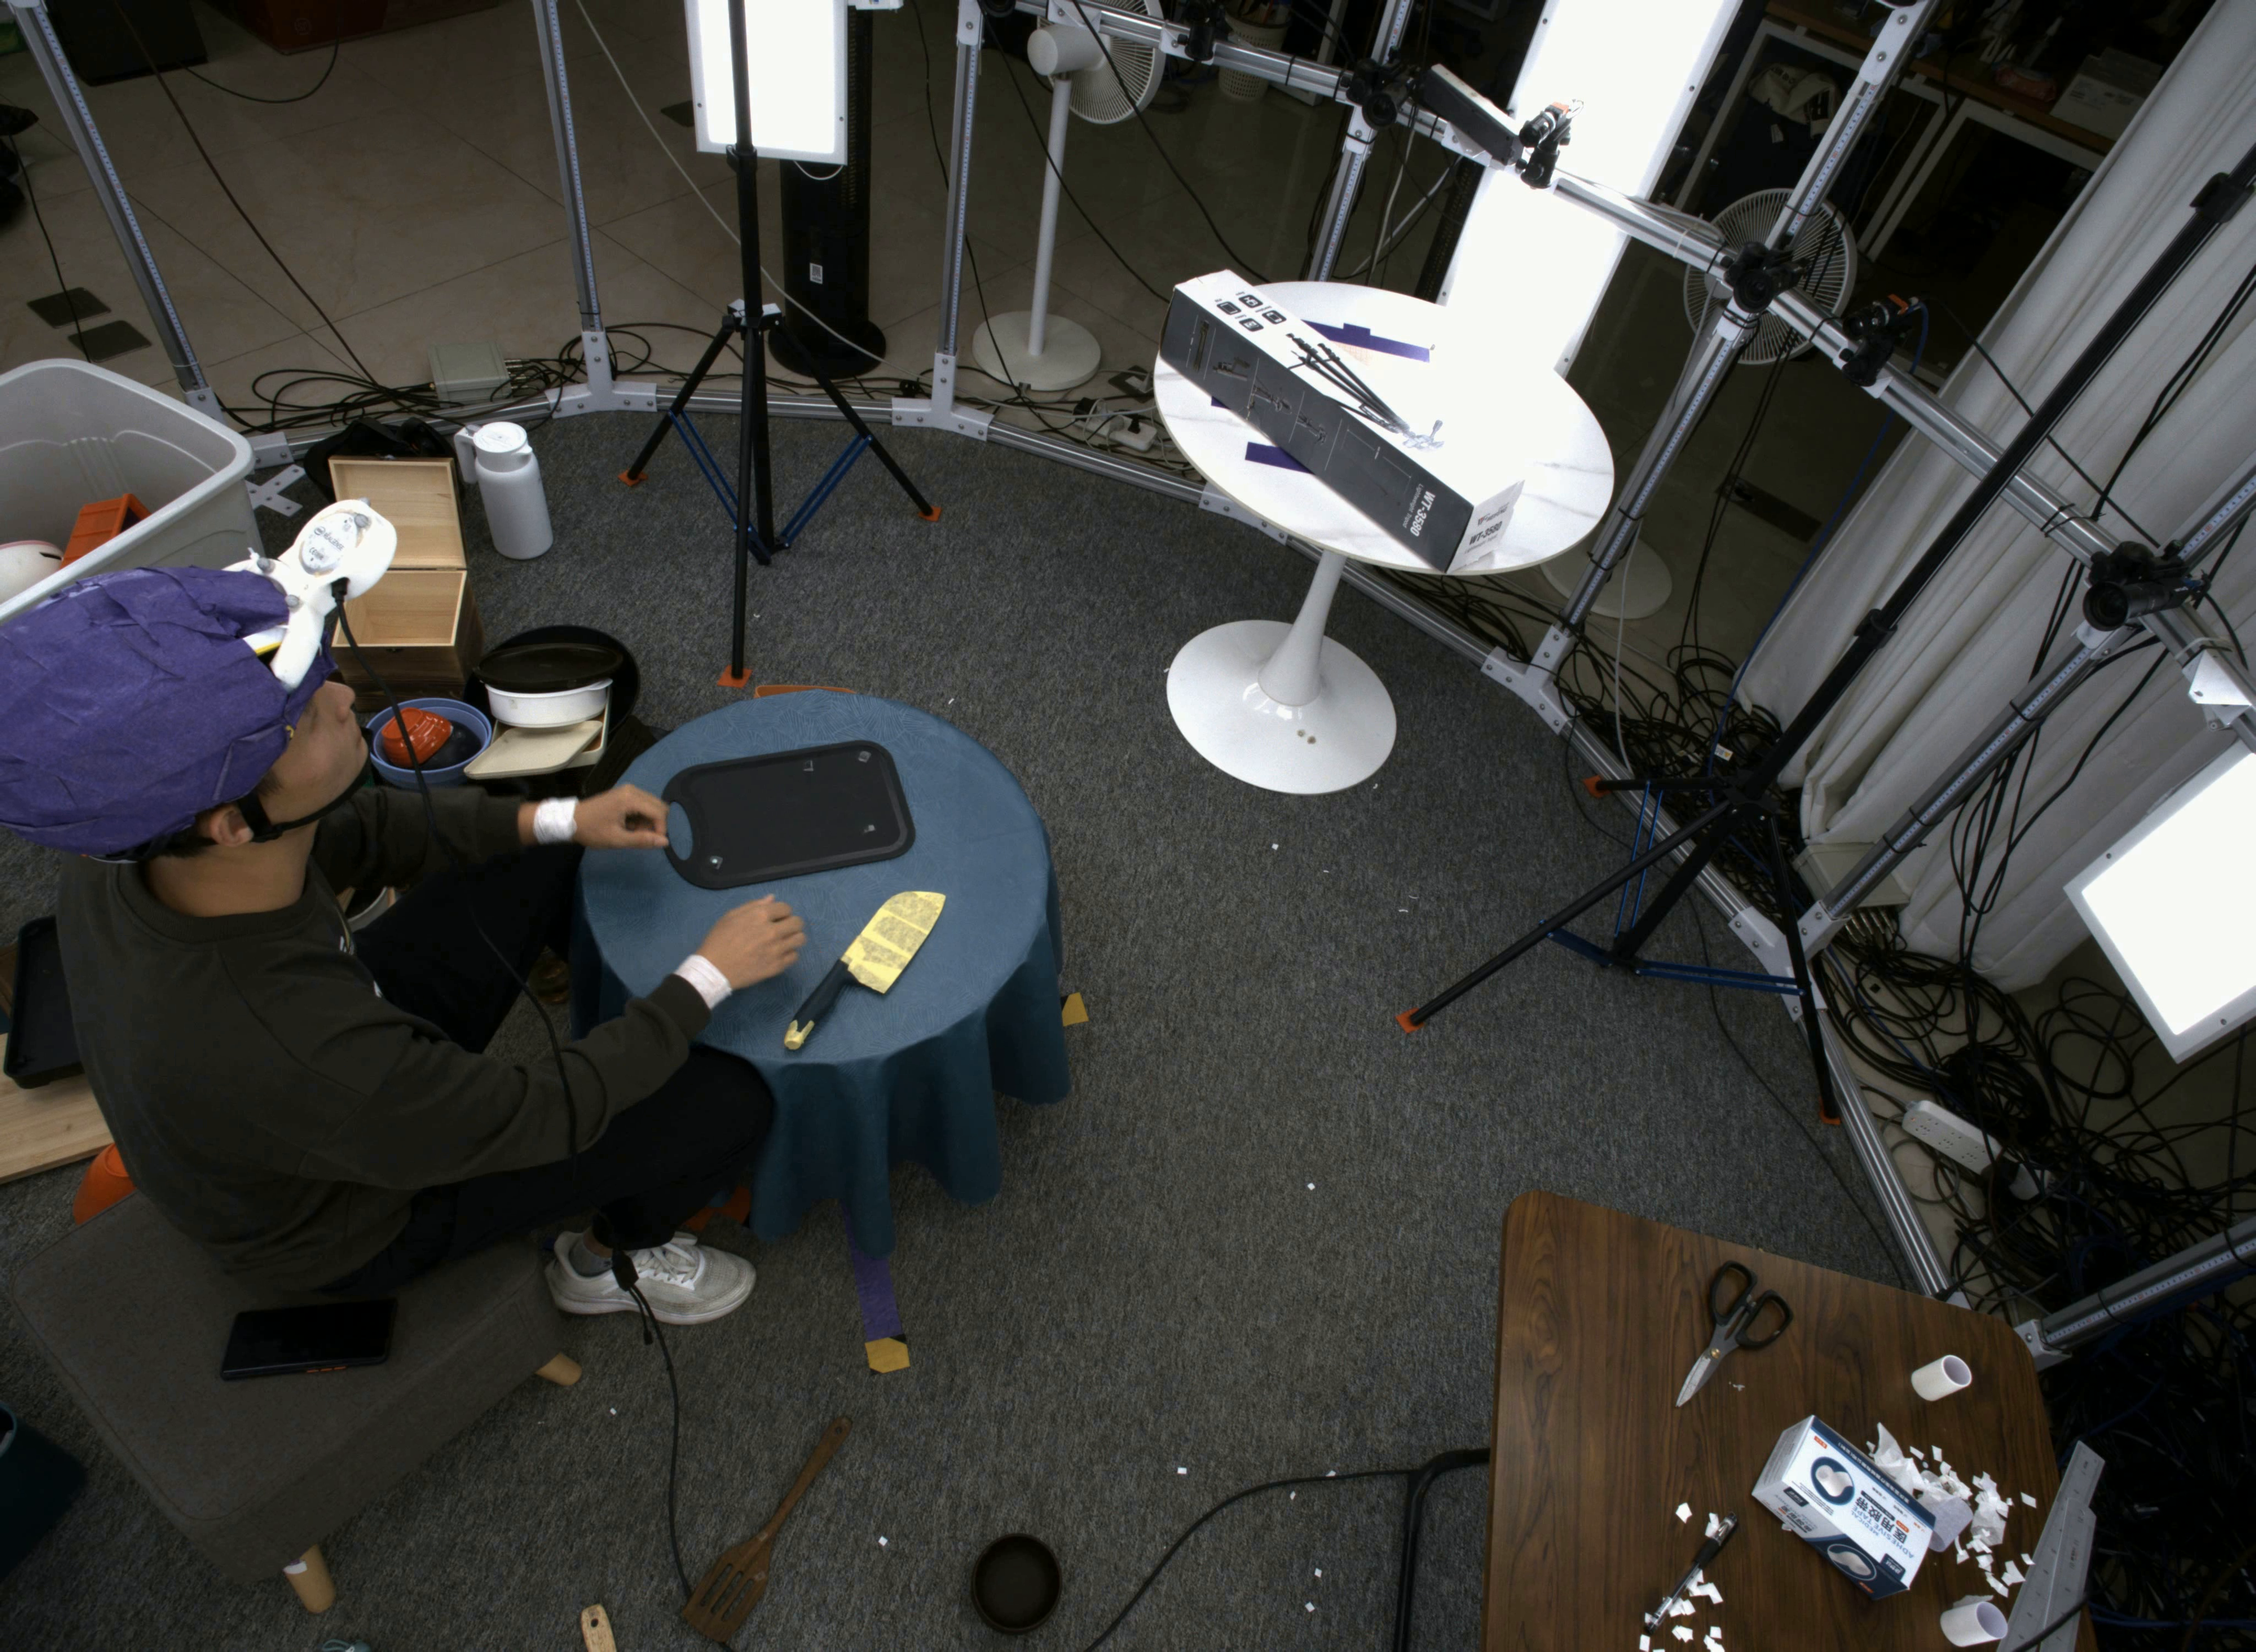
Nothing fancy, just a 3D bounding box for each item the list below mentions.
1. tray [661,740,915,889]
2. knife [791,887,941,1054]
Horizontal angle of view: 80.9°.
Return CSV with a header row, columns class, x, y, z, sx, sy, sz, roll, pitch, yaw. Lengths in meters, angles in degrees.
class,x,y,z,sx,sy,sz,roll,pitch,yaw
tray,-0.458,-0.020,1.736,0.327,0.010,0.206,-10,57,-21
knife,-0.322,0.174,1.623,0.079,0.028,0.288,28,52,9
